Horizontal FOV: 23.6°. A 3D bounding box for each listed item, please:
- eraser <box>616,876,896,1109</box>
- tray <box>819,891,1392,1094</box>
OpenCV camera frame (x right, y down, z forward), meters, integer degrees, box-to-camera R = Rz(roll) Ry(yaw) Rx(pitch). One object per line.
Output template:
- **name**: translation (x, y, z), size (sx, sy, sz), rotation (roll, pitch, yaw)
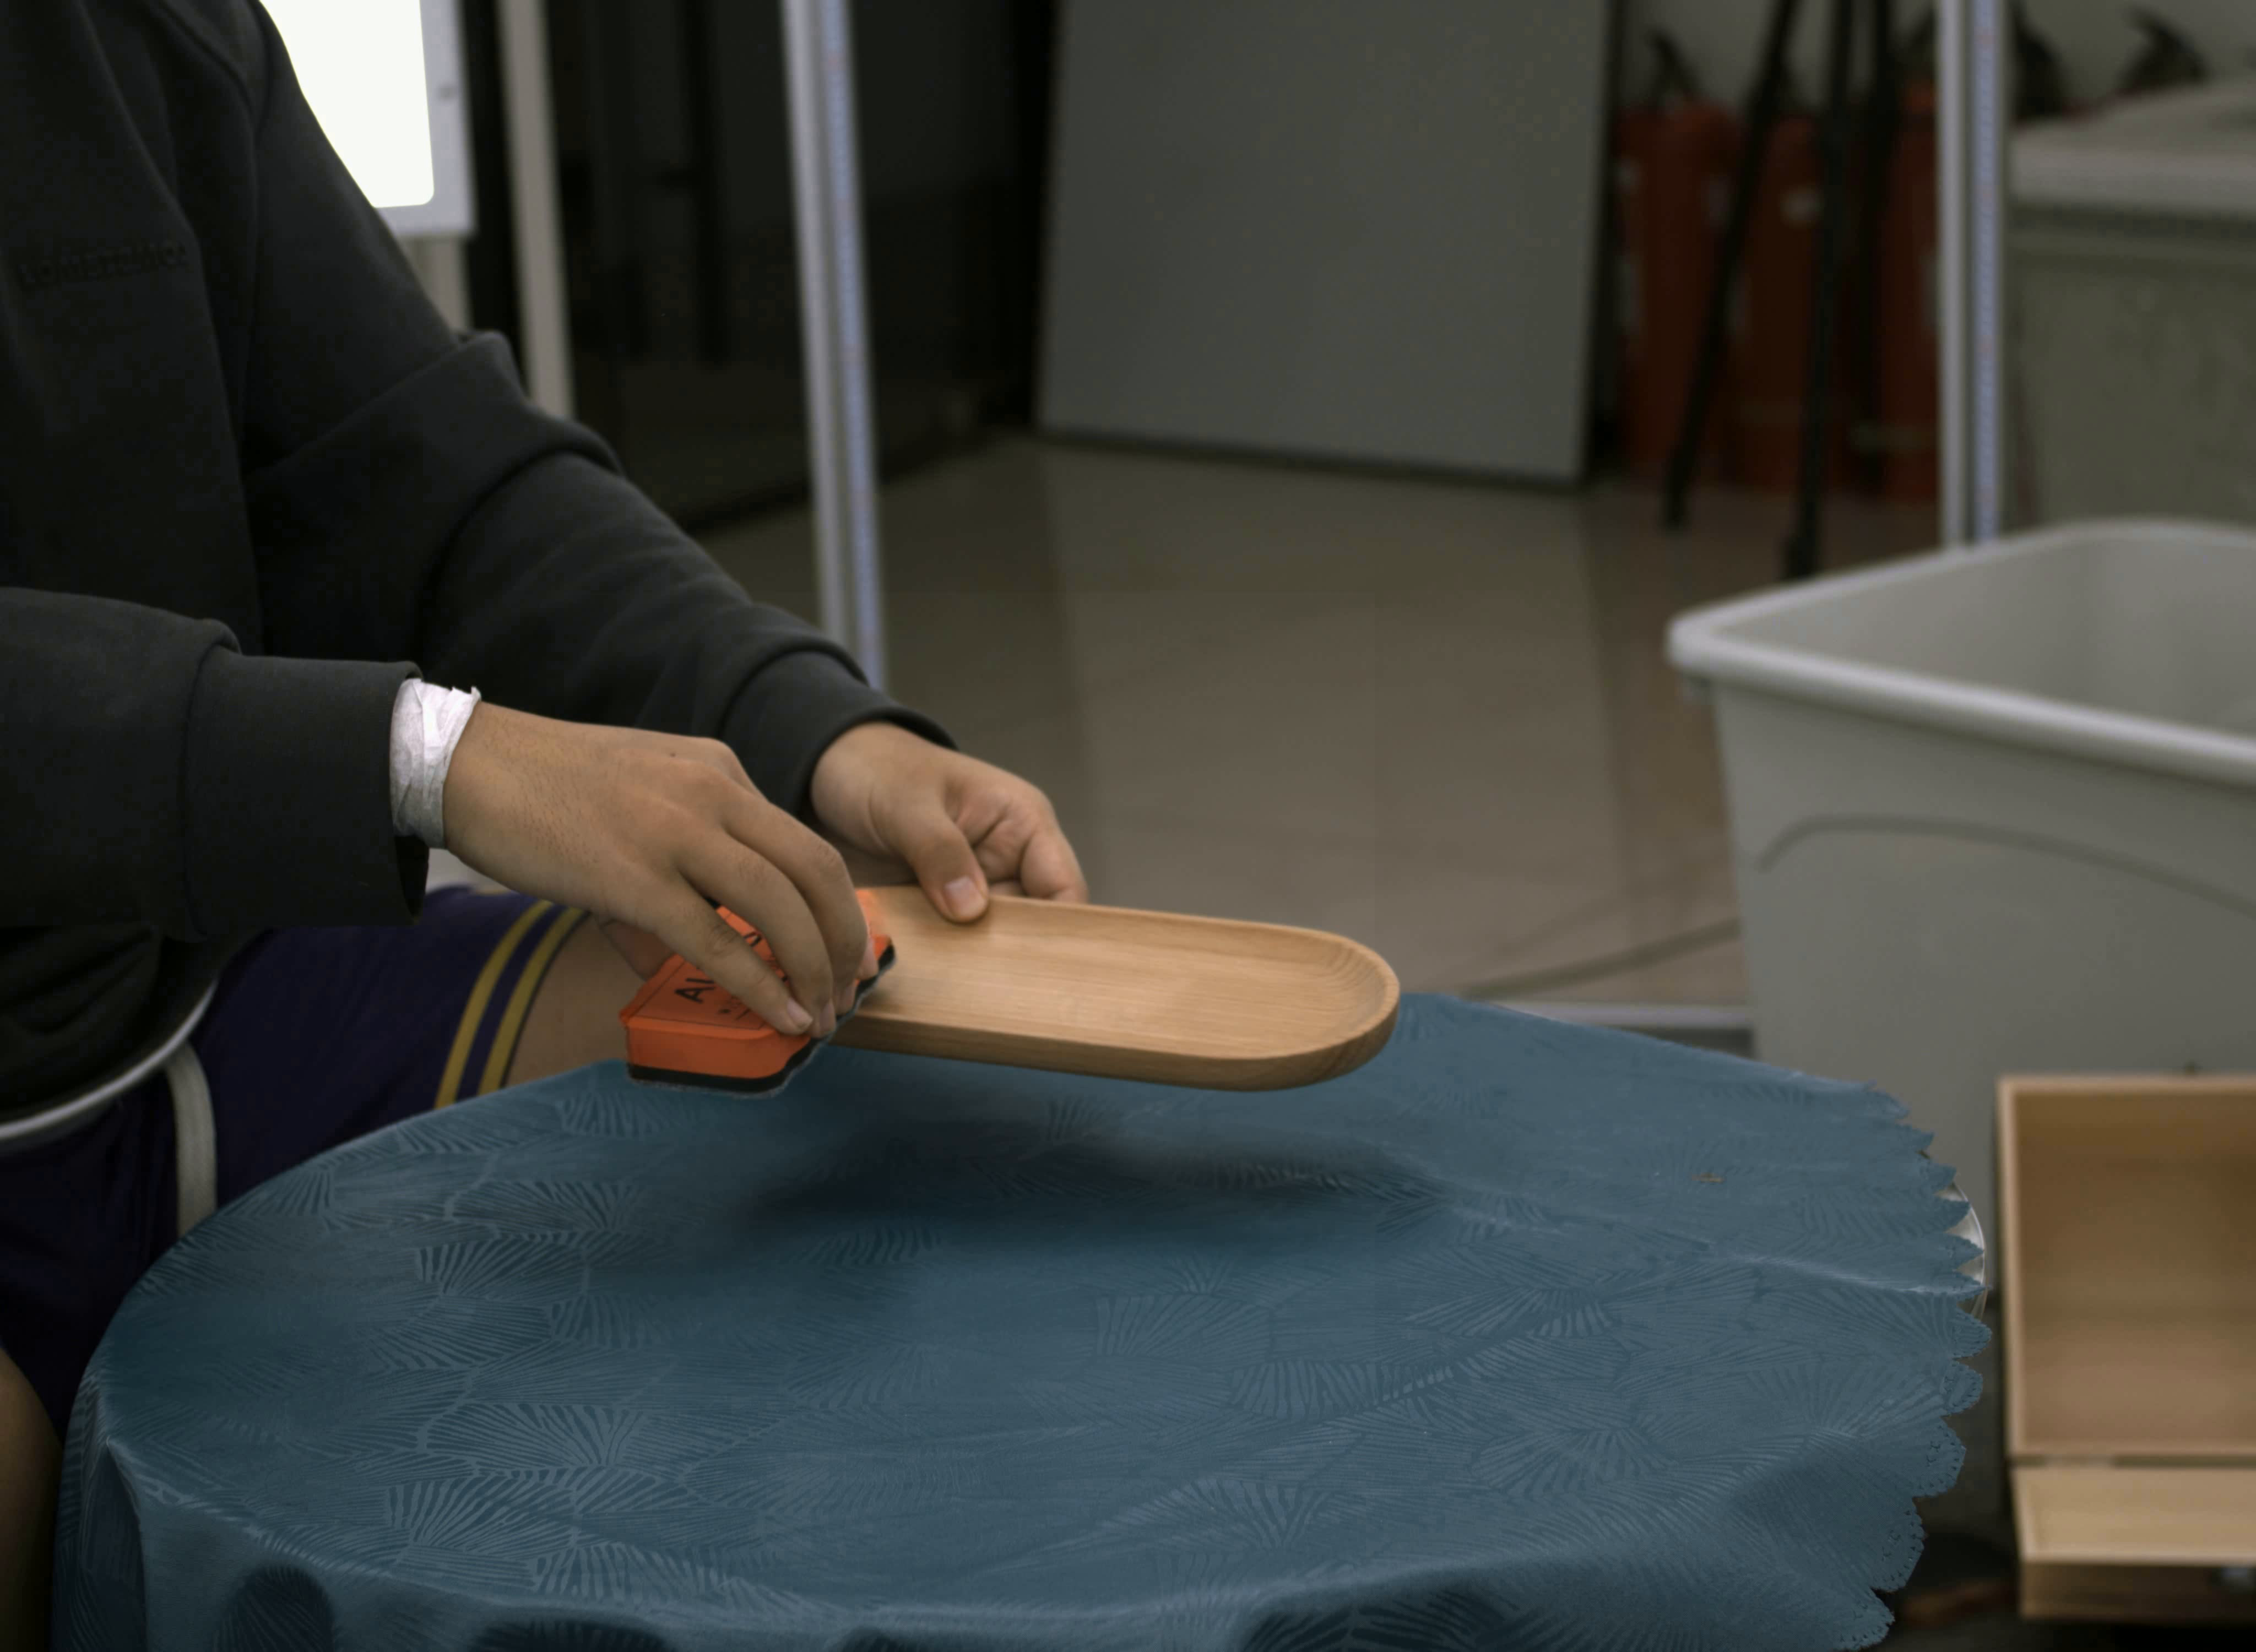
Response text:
- **eraser**: translation (-0.120, 0.053, 1.757), size (0.059, 0.023, 0.107), rotation (15, 30, 17)
- **tray**: translation (-0.024, 0.055, 1.785), size (0.230, 0.020, 0.101), rotation (4, 24, 19)
